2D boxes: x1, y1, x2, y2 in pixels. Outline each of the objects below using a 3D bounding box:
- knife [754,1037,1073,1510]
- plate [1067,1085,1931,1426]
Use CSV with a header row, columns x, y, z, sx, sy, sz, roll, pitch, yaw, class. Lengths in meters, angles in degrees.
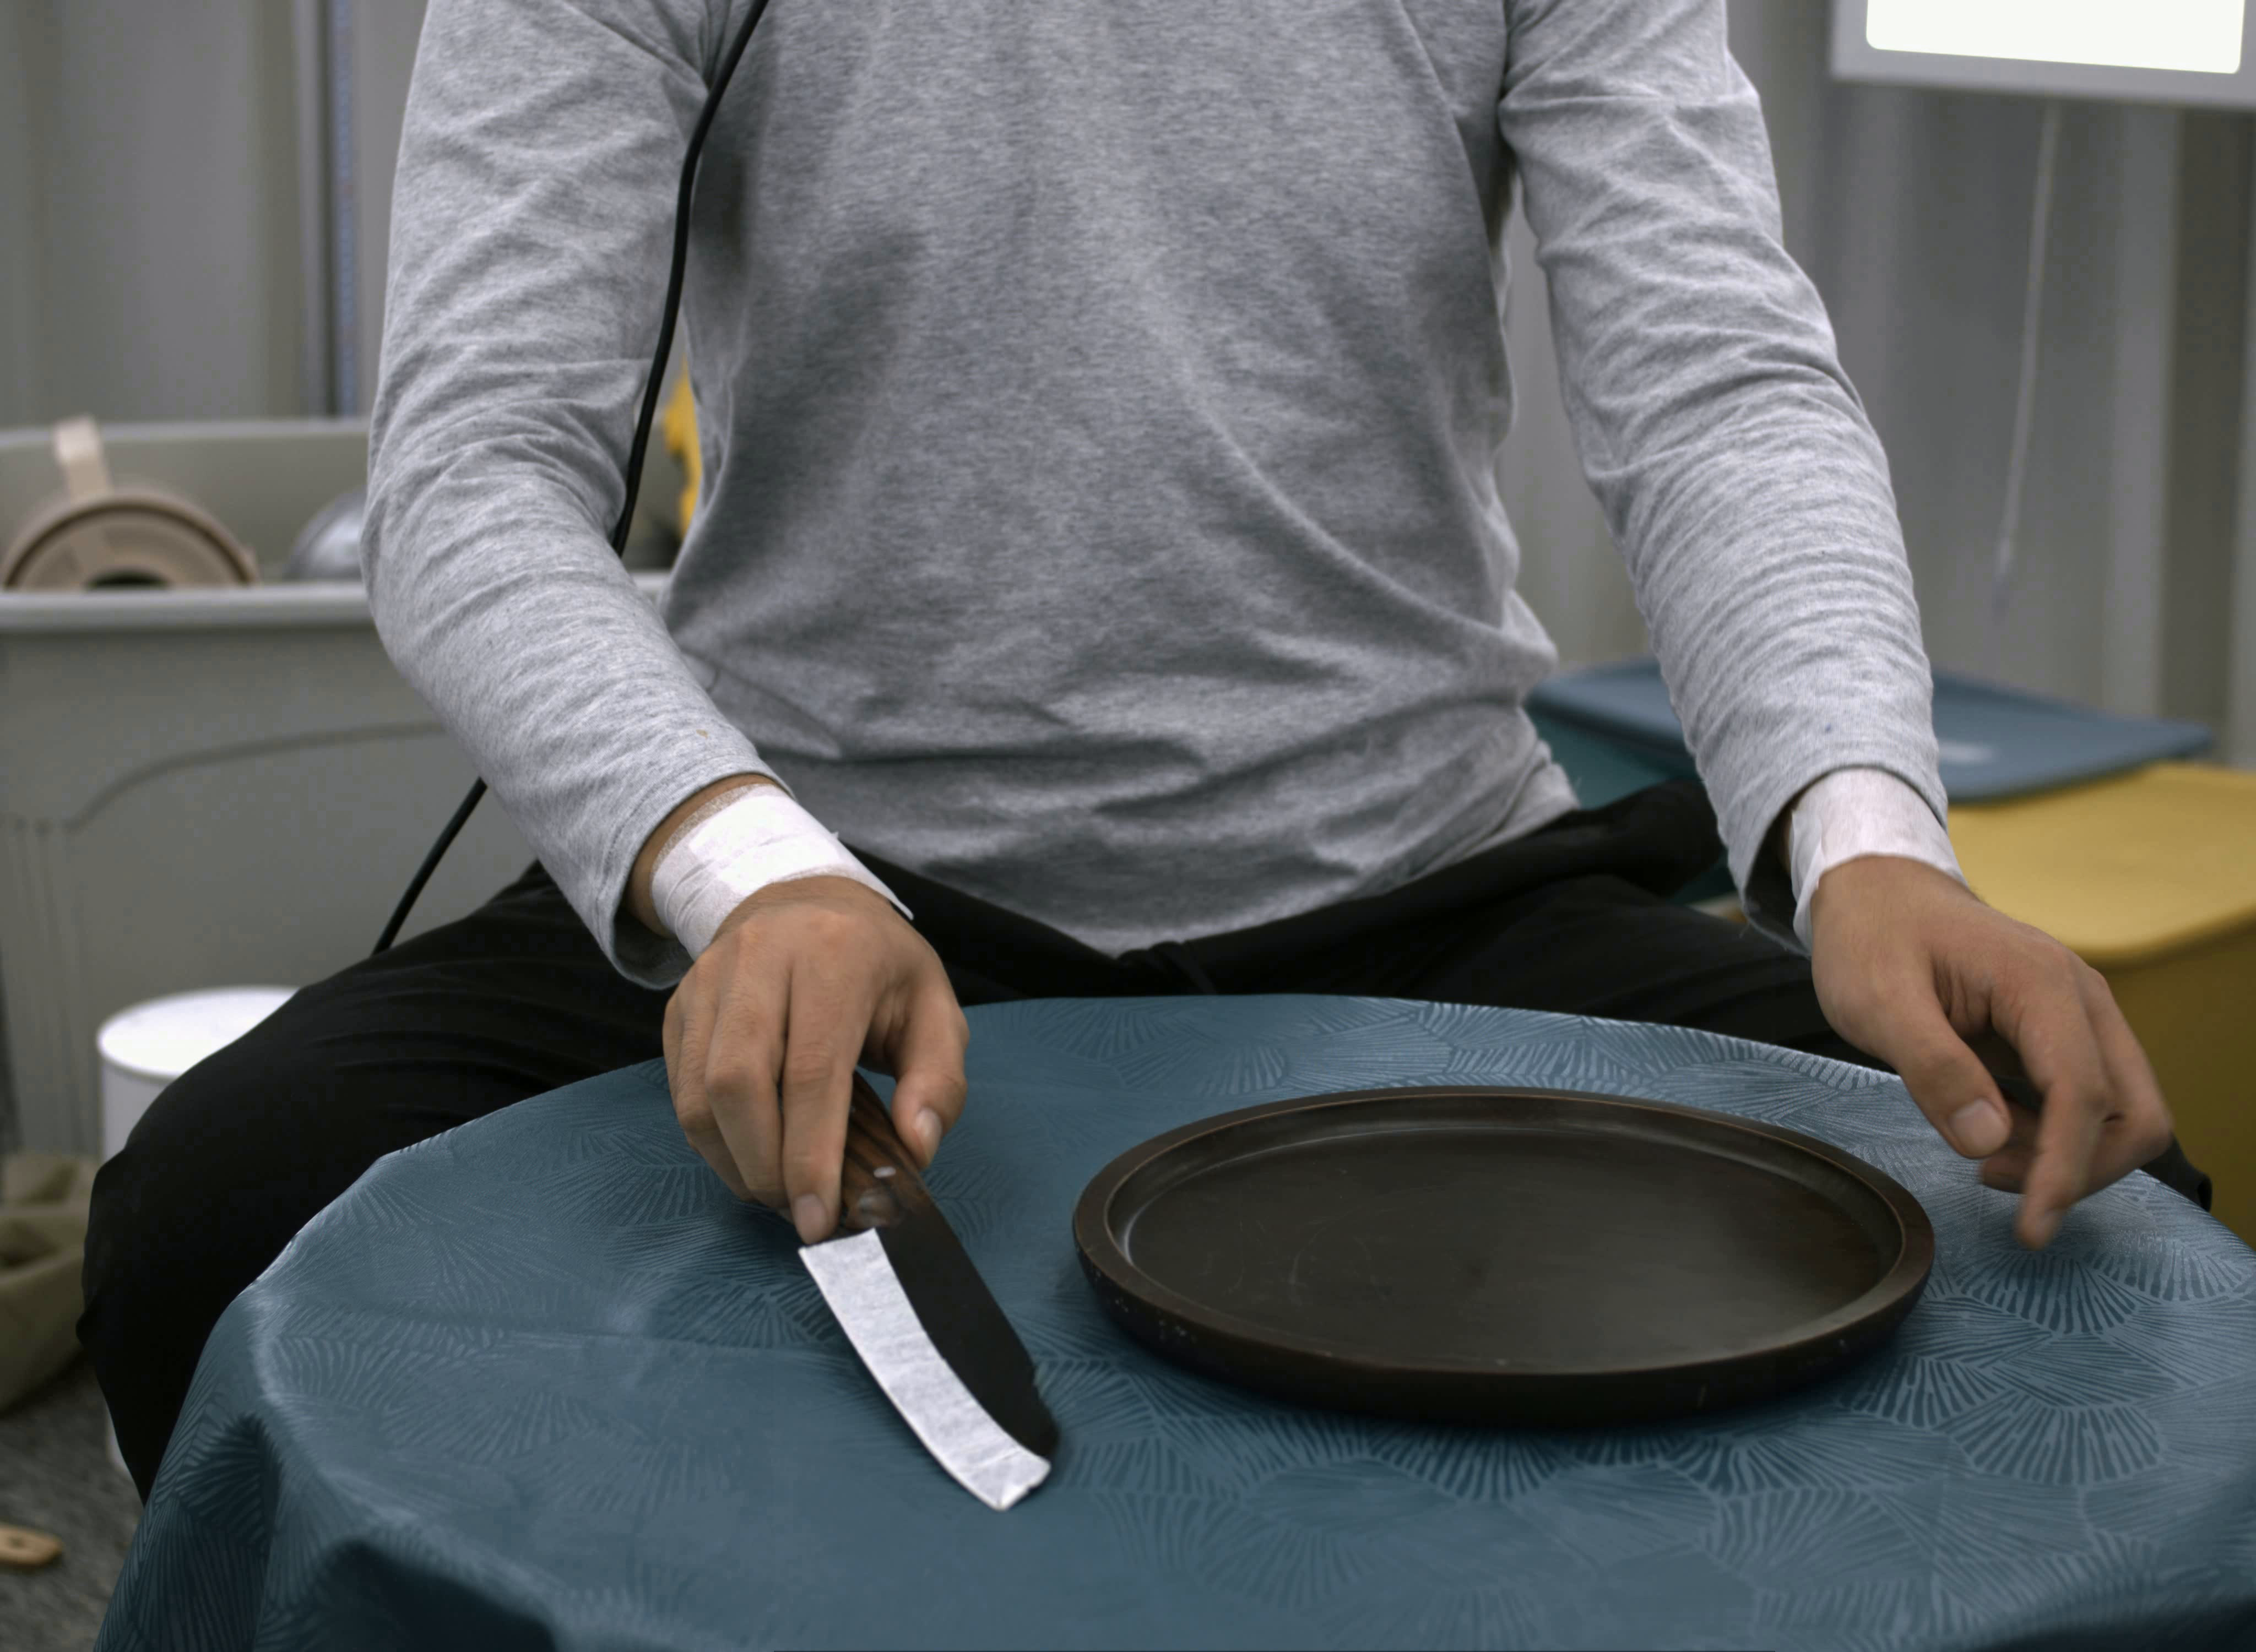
x,y,z,sx,sy,sz,roll,pitch,yaw,class
-0.066,0.126,1.506,0.050,0.020,0.286,-12,25,-11,knife
0.108,0.123,1.543,0.254,0.029,0.253,-1,15,1,plate
